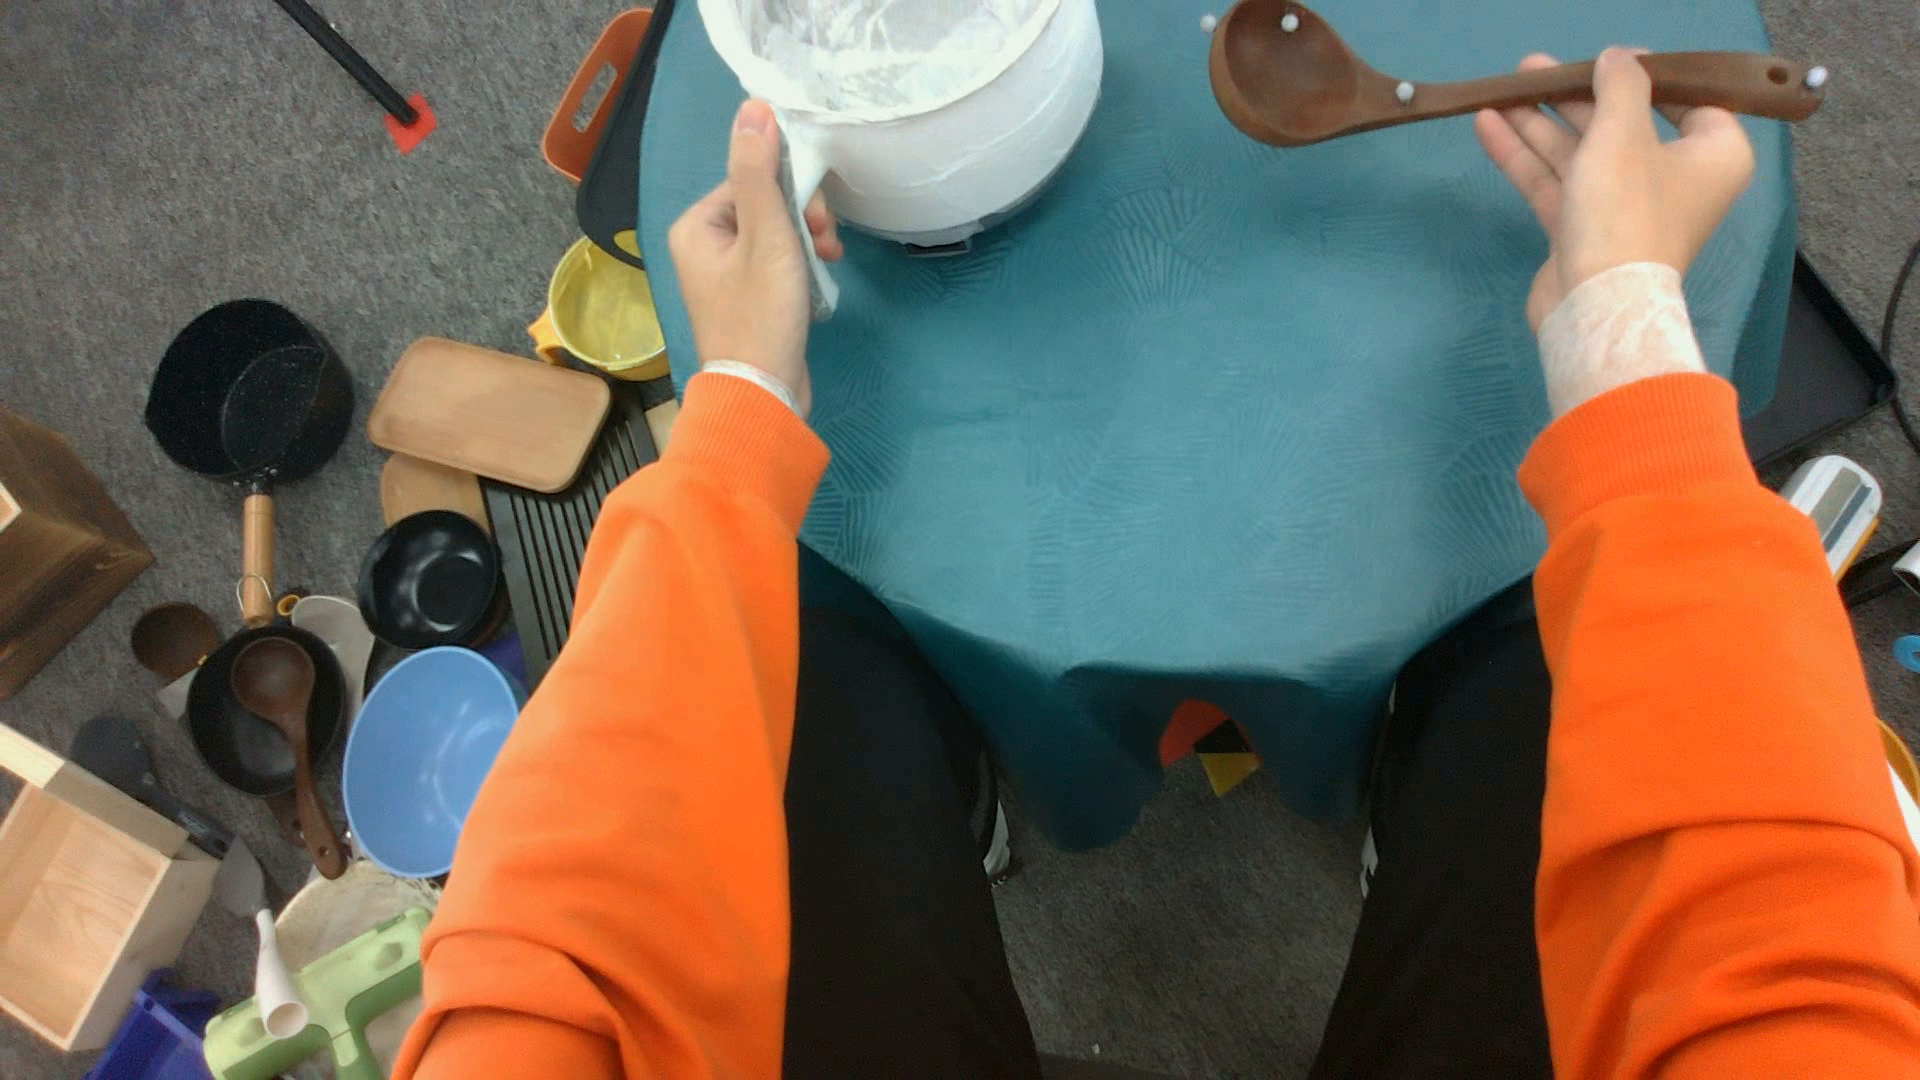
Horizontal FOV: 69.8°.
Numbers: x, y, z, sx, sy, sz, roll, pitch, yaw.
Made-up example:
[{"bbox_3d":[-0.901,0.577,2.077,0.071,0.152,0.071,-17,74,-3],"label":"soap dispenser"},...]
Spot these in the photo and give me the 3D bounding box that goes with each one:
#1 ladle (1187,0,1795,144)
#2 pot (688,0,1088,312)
[{"bbox_3d":[0.233,-0.214,0.621,0.260,0.065,0.076,6,75,21],"label":"ladle"},{"bbox_3d":[-0.041,-0.228,0.671,0.178,0.136,0.234,26,81,16],"label":"pot"}]
